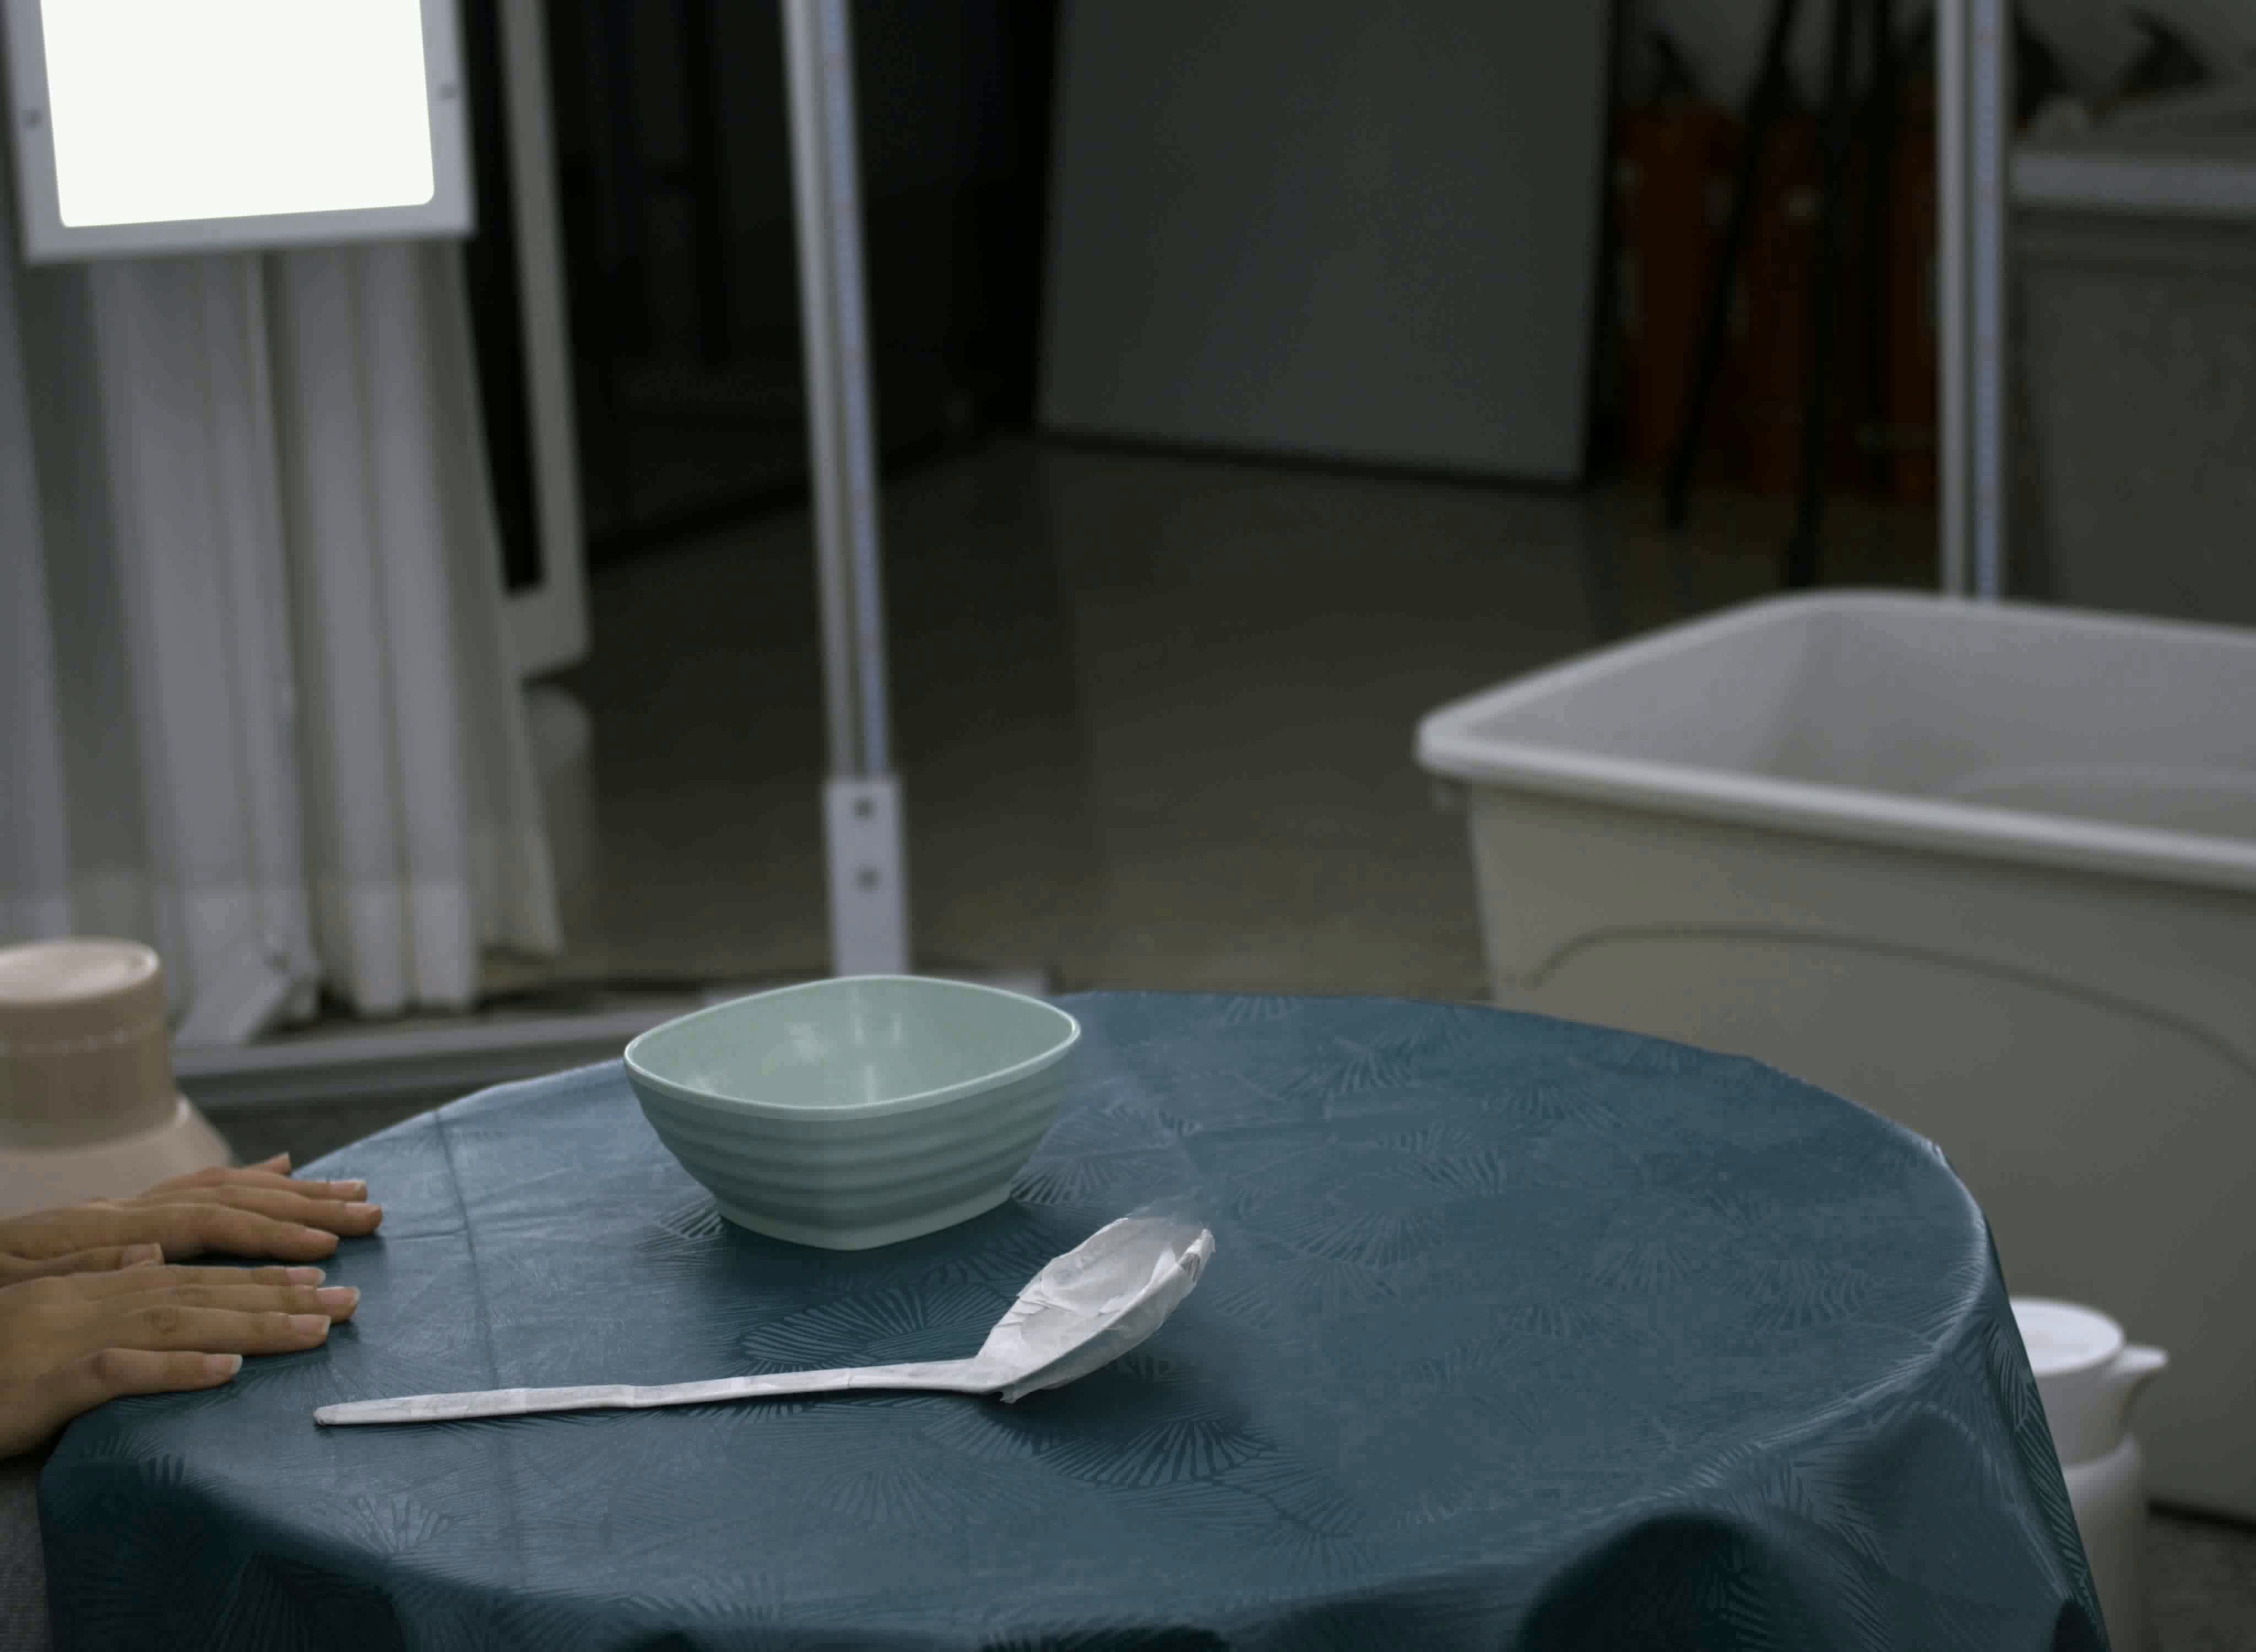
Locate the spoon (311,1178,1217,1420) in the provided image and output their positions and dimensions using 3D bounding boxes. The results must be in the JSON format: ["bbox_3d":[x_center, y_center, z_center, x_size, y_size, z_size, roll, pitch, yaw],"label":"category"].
[{"bbox_3d":[-0.108,0.140,1.605,0.274,0.060,0.100,-3,9,6],"label":"spoon"}]

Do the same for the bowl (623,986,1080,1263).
[{"bbox_3d":[-0.089,0.100,1.769,0.149,0.059,0.152,-4,13,0],"label":"bowl"}]
